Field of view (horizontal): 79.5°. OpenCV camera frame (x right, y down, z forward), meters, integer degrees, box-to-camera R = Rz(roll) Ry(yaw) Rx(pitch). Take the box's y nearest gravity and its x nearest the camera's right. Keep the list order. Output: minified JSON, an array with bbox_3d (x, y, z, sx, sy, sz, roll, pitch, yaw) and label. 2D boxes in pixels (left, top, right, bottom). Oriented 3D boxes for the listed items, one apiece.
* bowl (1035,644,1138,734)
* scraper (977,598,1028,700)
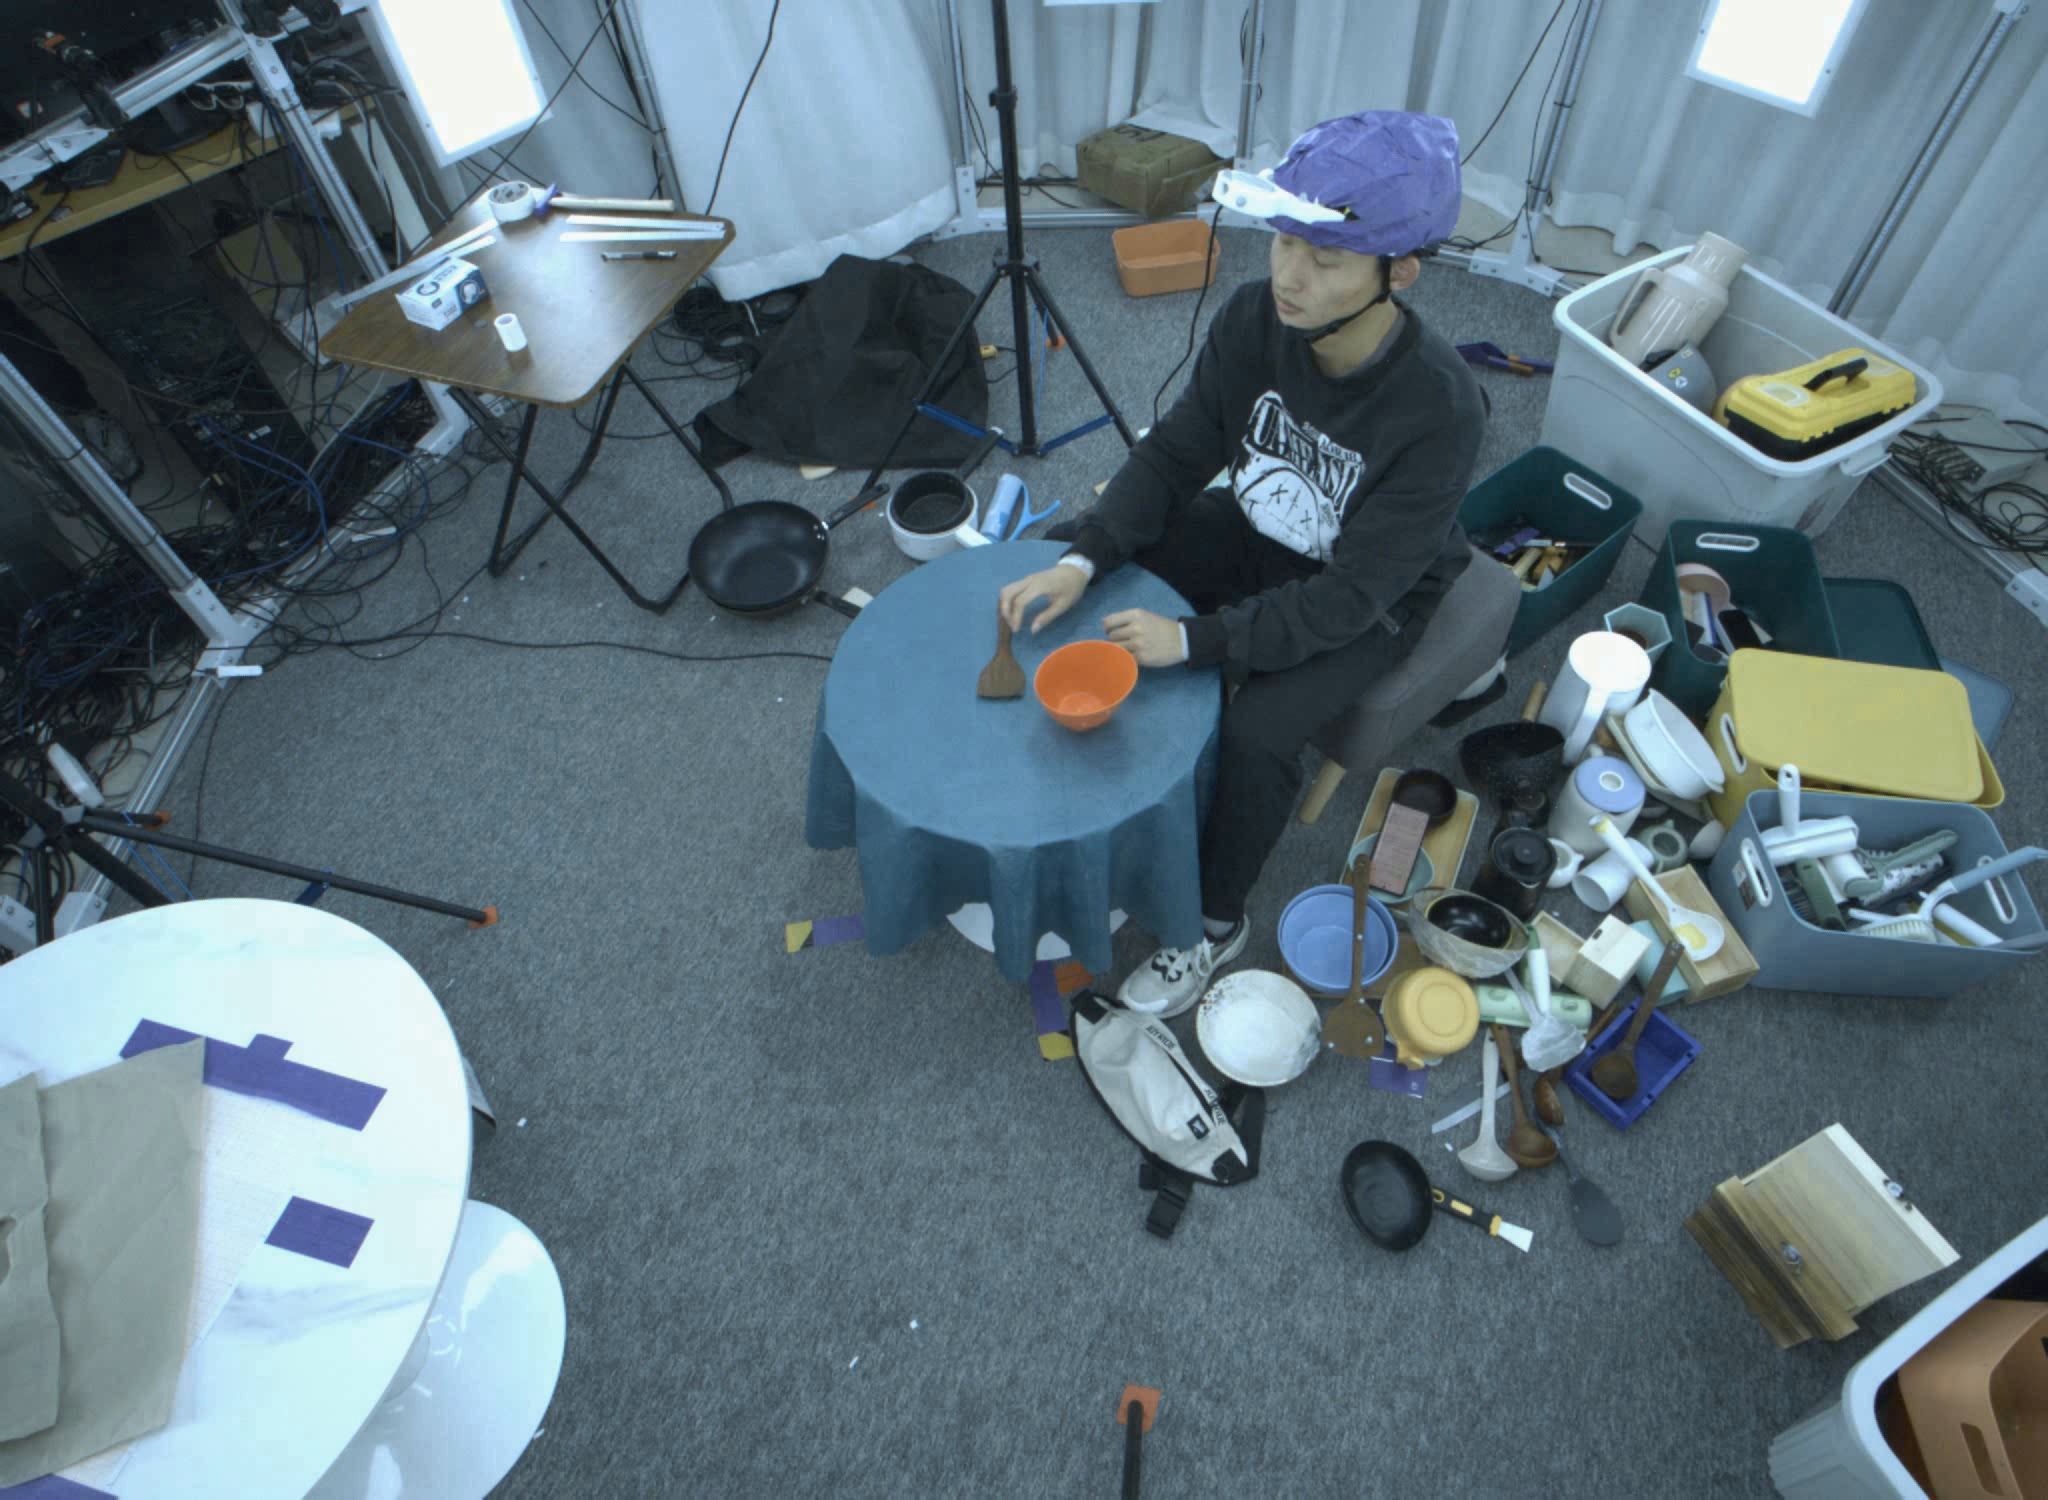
[{"bbox_3d":[0.091,-0.074,1.785,0.148,0.106,0.146,-1,55,2],"label":"bowl"},{"bbox_3d":[-0.030,-0.158,1.905,0.076,0.011,0.209,1,54,1],"label":"scraper"}]
